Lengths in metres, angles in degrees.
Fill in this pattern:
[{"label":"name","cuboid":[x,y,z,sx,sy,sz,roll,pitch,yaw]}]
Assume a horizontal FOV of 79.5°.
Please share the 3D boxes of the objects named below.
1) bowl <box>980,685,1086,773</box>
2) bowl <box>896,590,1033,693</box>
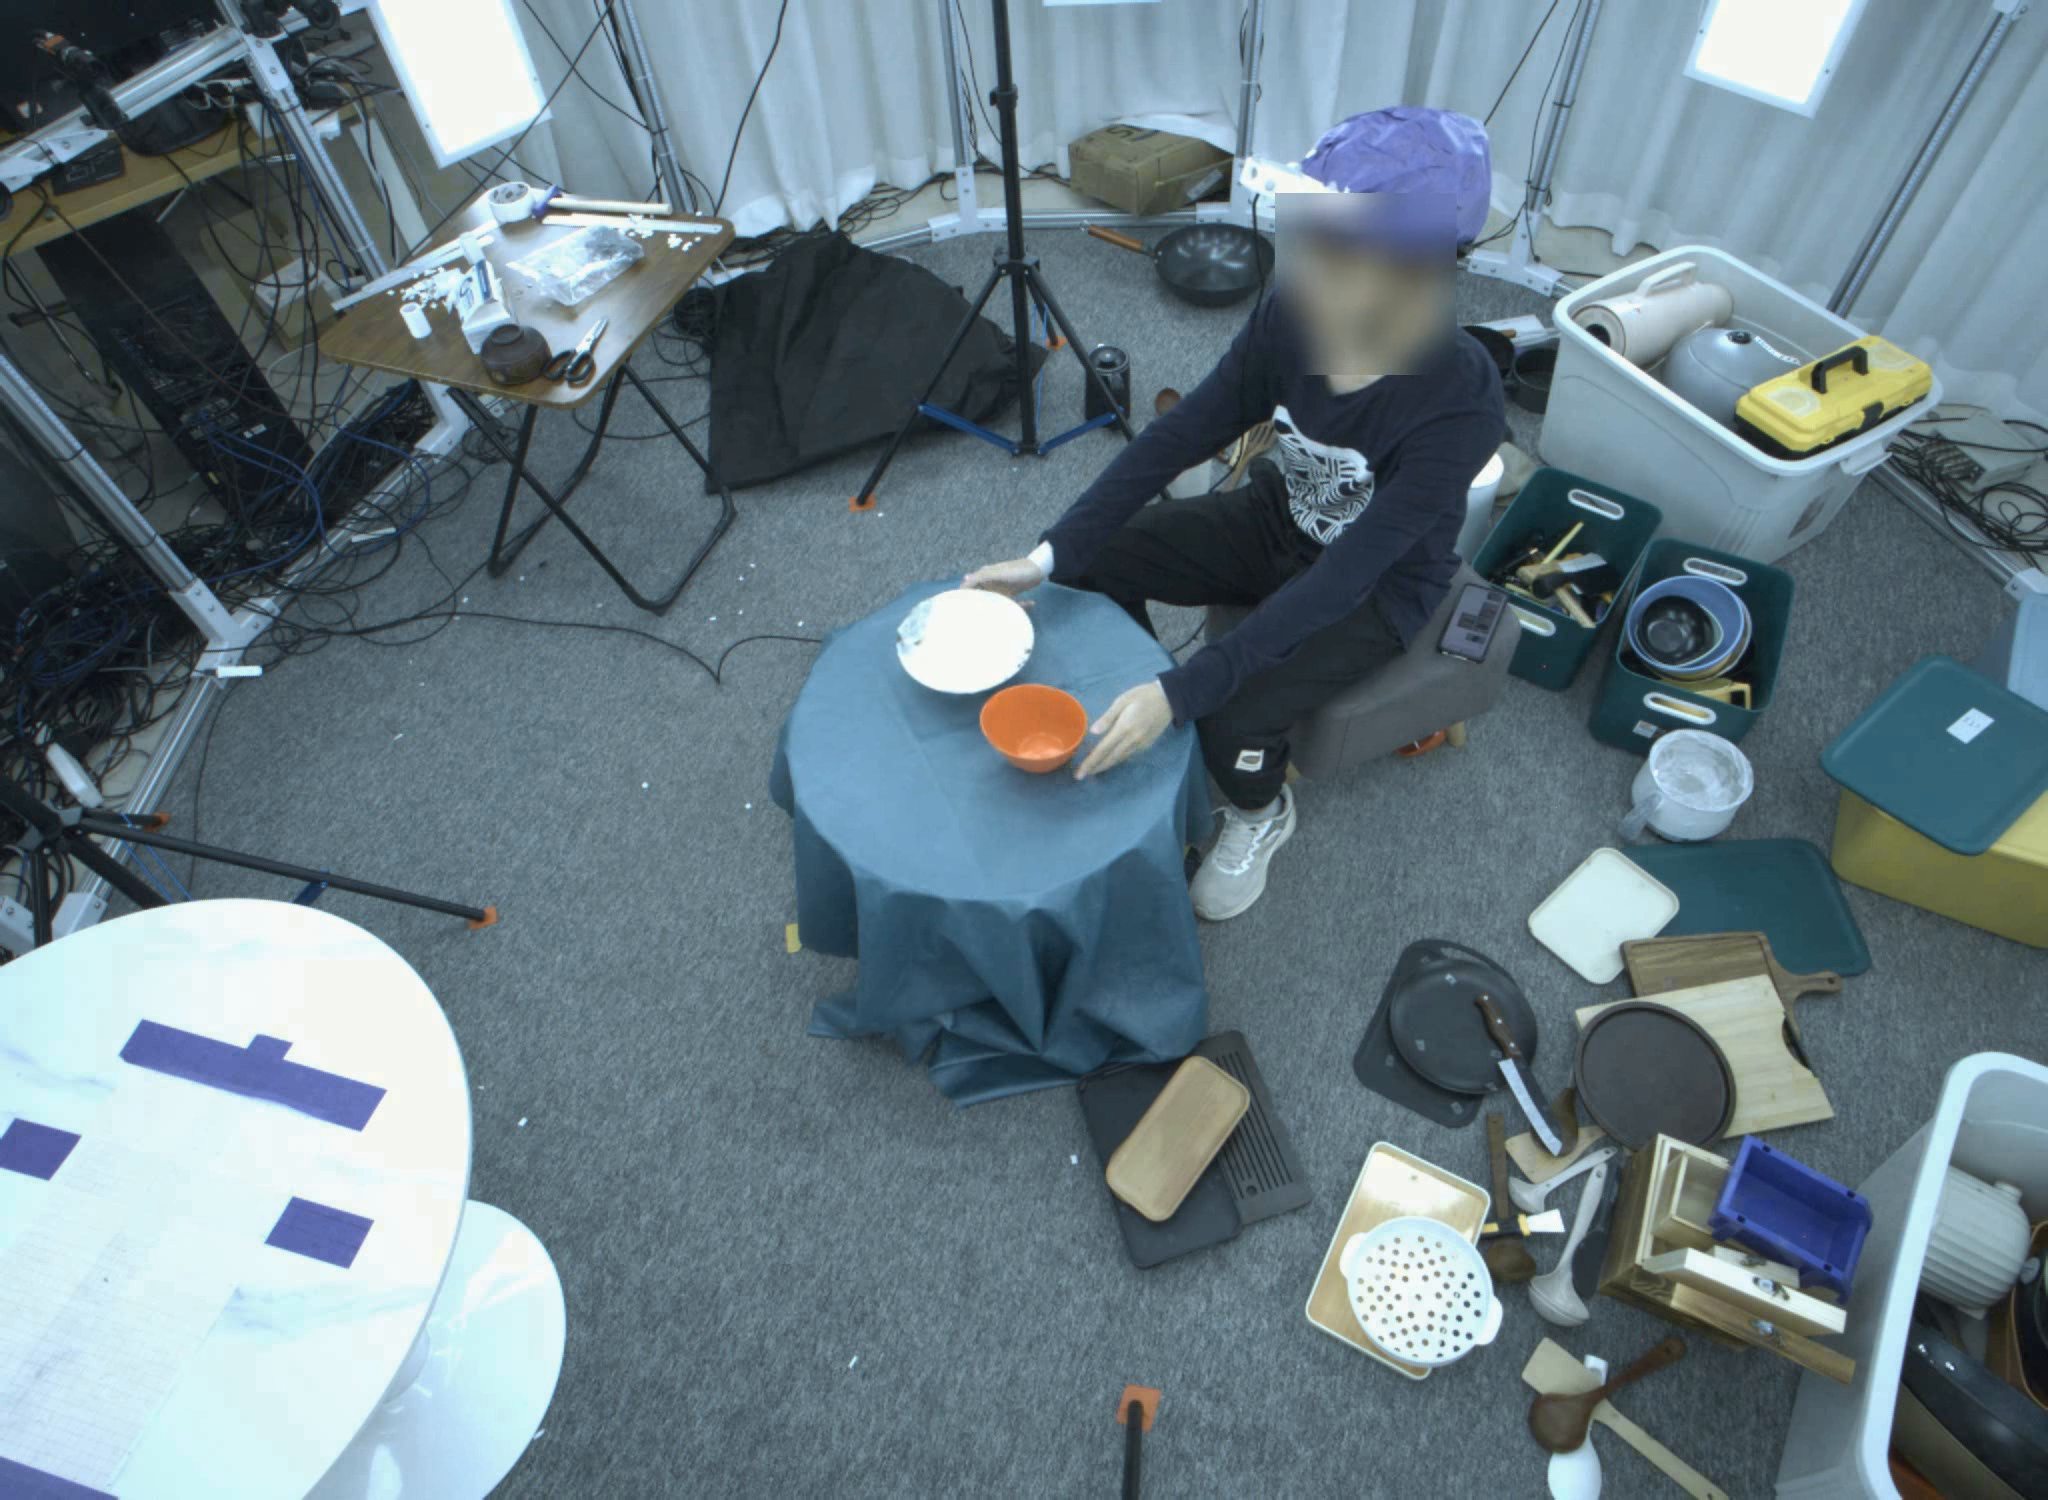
[{"label":"bowl","cuboid":[0.014,-0.016,1.745,0.148,0.106,0.146,0,53,1]},{"label":"bowl","cuboid":[-0.090,-0.143,1.856,0.204,0.078,0.202,2,54,-2]}]
